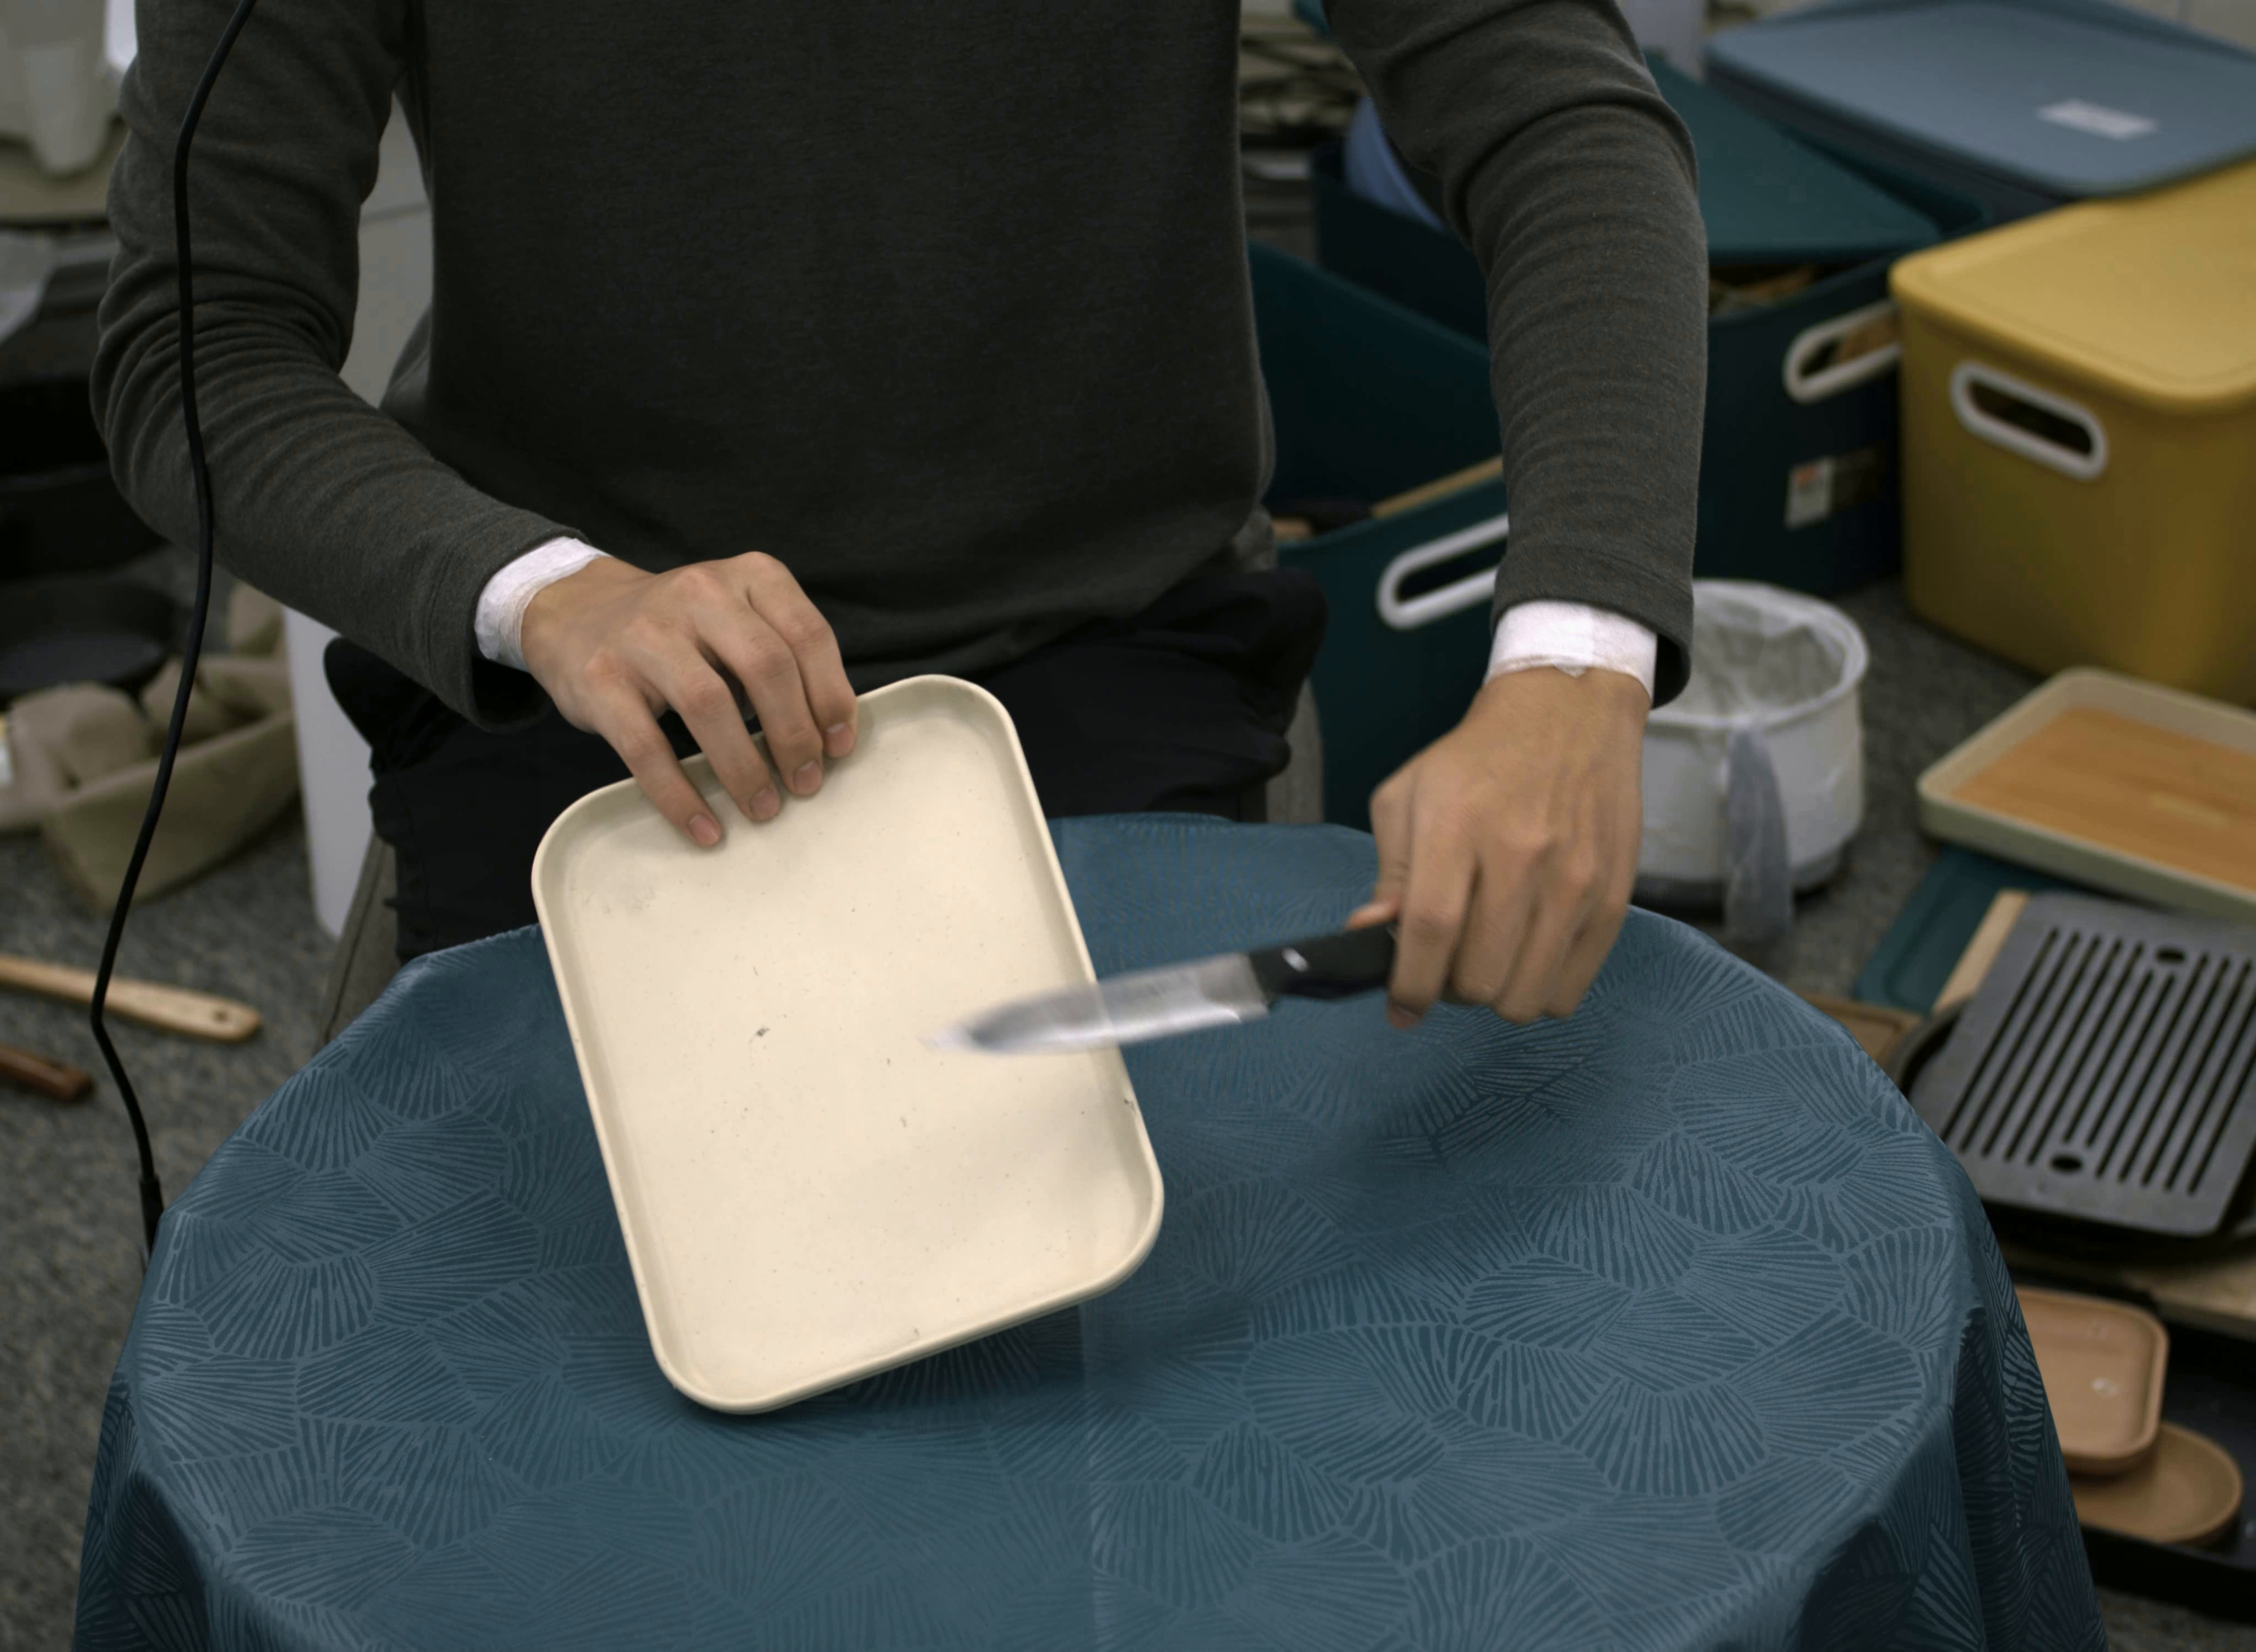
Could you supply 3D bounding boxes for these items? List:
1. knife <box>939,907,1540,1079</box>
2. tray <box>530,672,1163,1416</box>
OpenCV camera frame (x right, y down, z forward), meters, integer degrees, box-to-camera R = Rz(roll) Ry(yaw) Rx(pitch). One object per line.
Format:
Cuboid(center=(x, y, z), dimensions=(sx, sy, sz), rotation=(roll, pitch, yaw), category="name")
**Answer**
Cuboid(center=(0.036, 0.054, 1.795), dimensions=(0.240, 0.016, 0.025), rotation=(-12, 62, -35), category="knife")
Cuboid(center=(-0.092, 0.069, 1.811), dimensions=(0.170, 0.017, 0.243), rotation=(-19, 57, 1), category="tray")
